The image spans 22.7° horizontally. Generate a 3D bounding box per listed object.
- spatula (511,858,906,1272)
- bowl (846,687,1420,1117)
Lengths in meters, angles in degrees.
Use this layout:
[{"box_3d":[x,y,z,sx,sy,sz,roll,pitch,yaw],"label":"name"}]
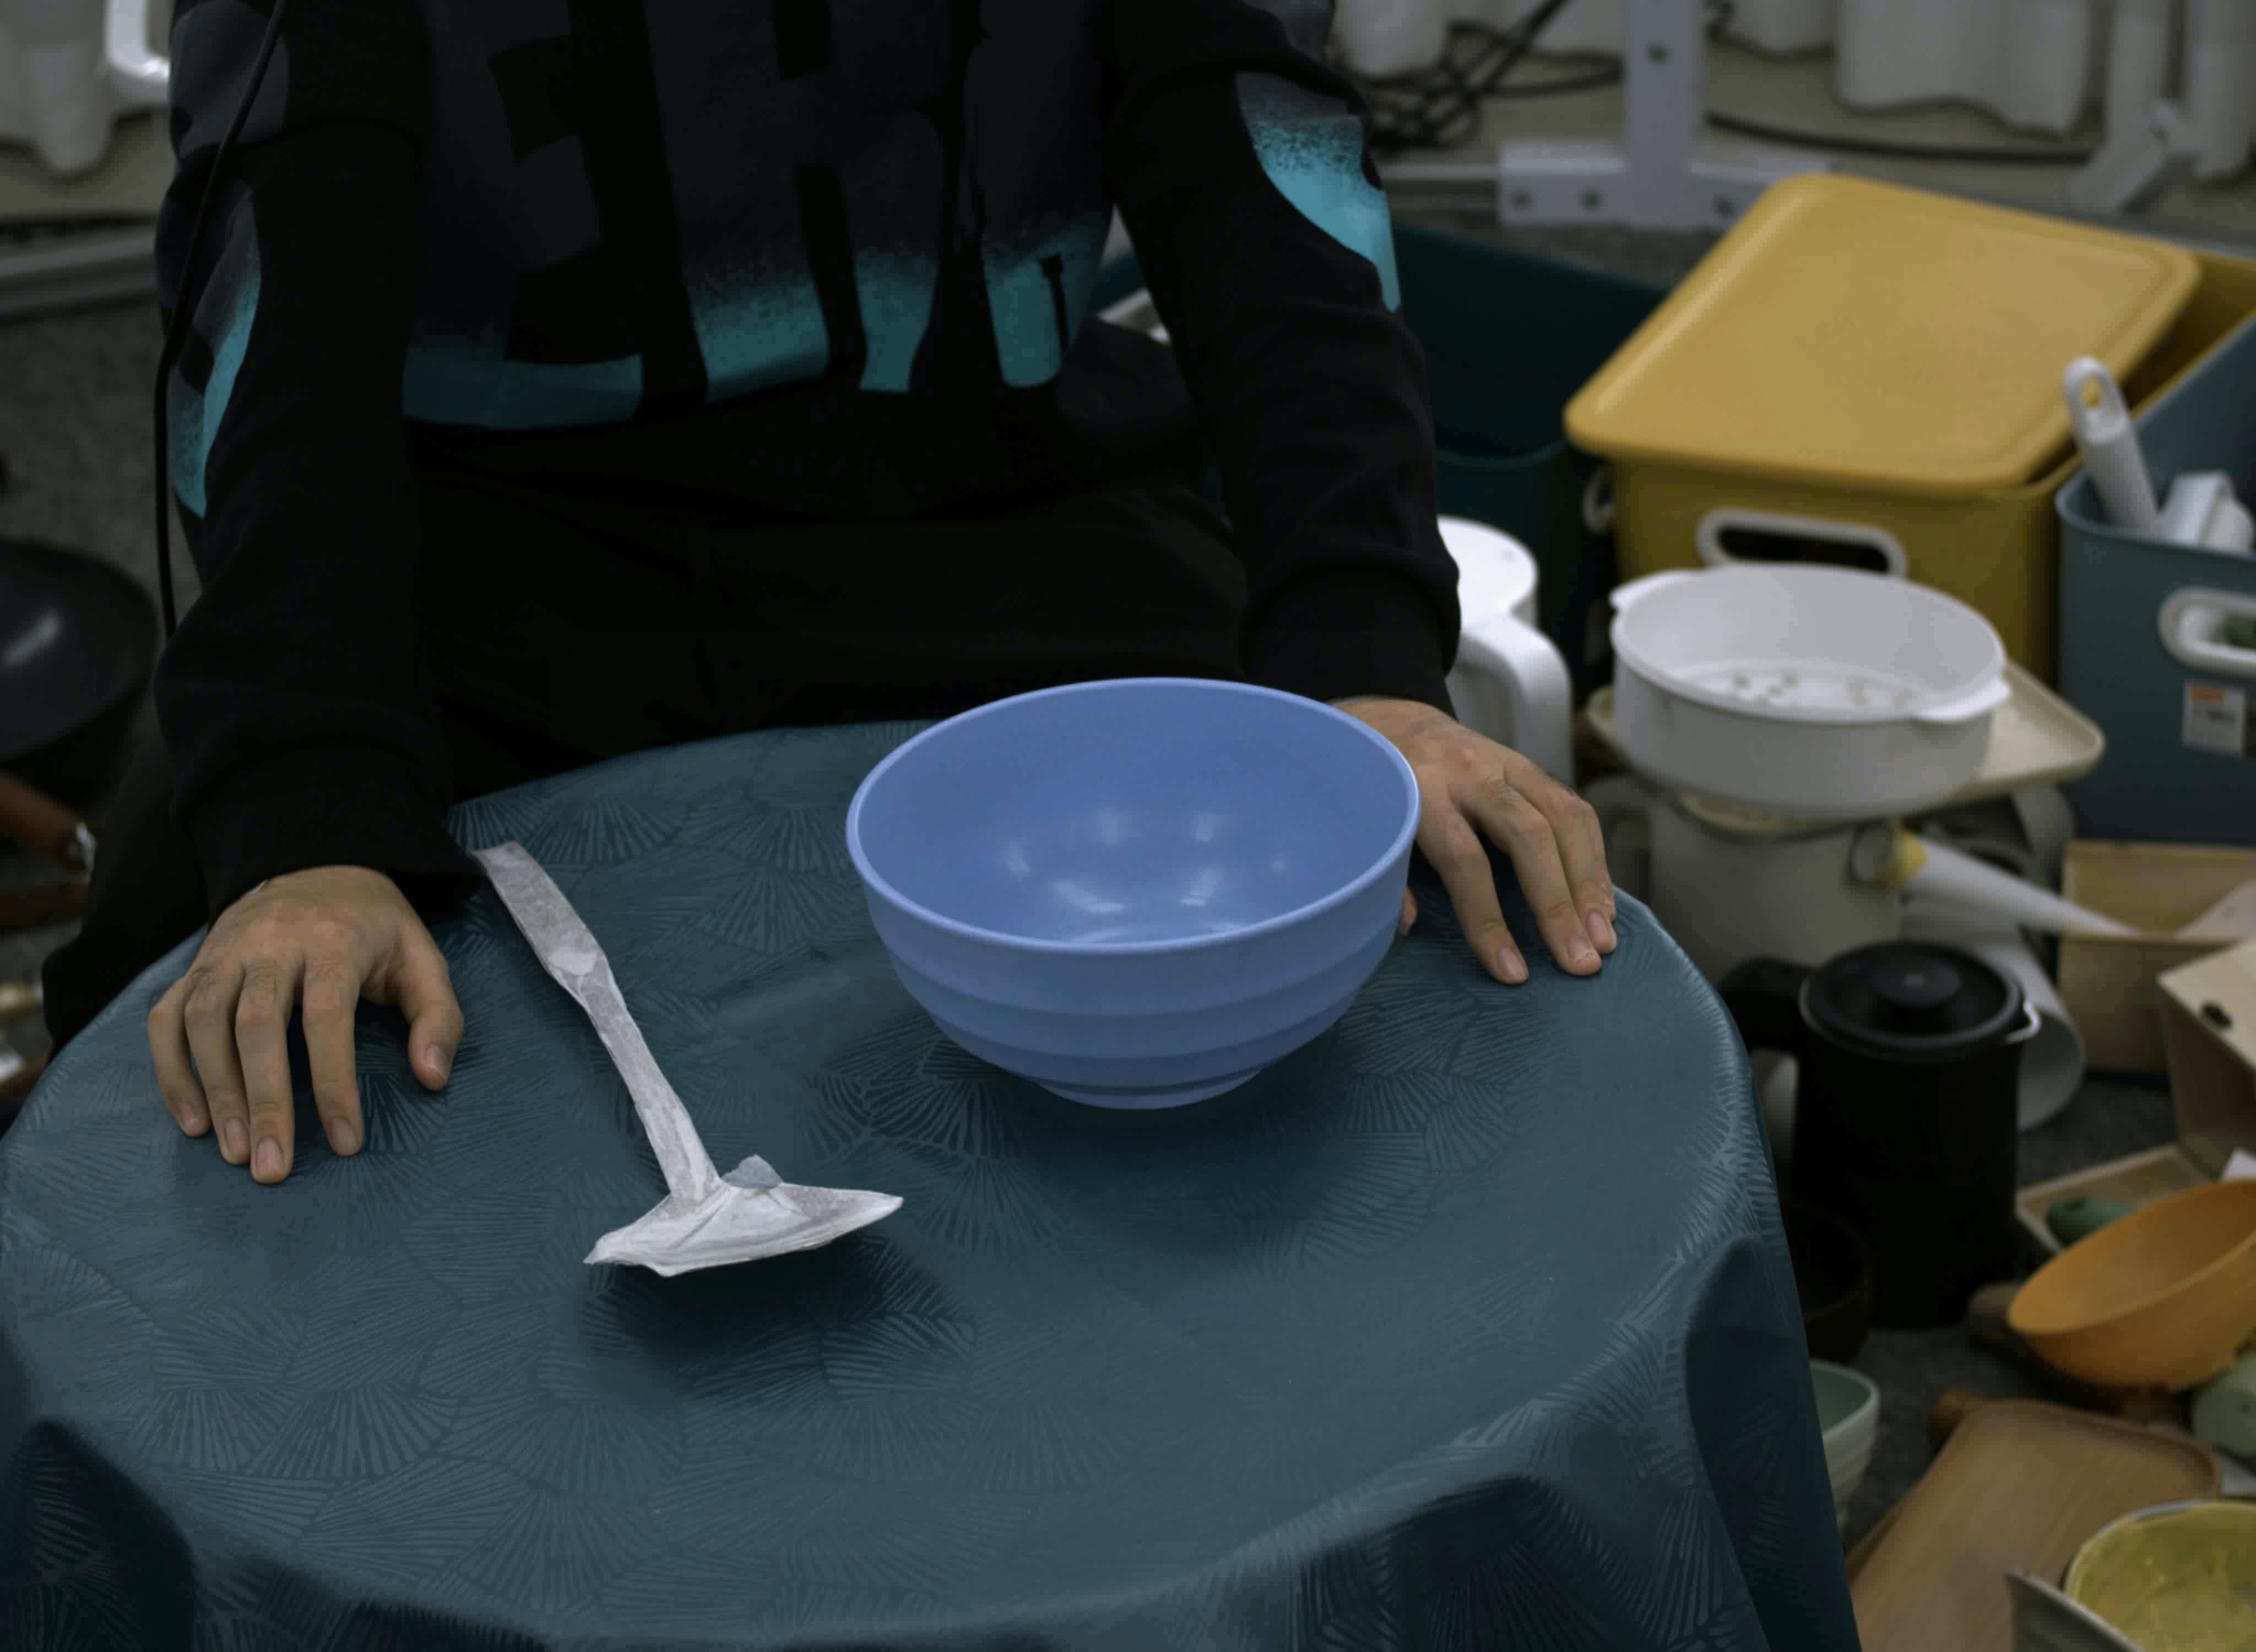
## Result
[{"box_3d":[-0.167,0.074,1.929,0.099,0.044,0.368,-13,29,-15],"label":"spatula"},{"box_3d":[0.005,0.036,1.927,0.195,0.094,0.199,-4,26,2],"label":"bowl"}]
